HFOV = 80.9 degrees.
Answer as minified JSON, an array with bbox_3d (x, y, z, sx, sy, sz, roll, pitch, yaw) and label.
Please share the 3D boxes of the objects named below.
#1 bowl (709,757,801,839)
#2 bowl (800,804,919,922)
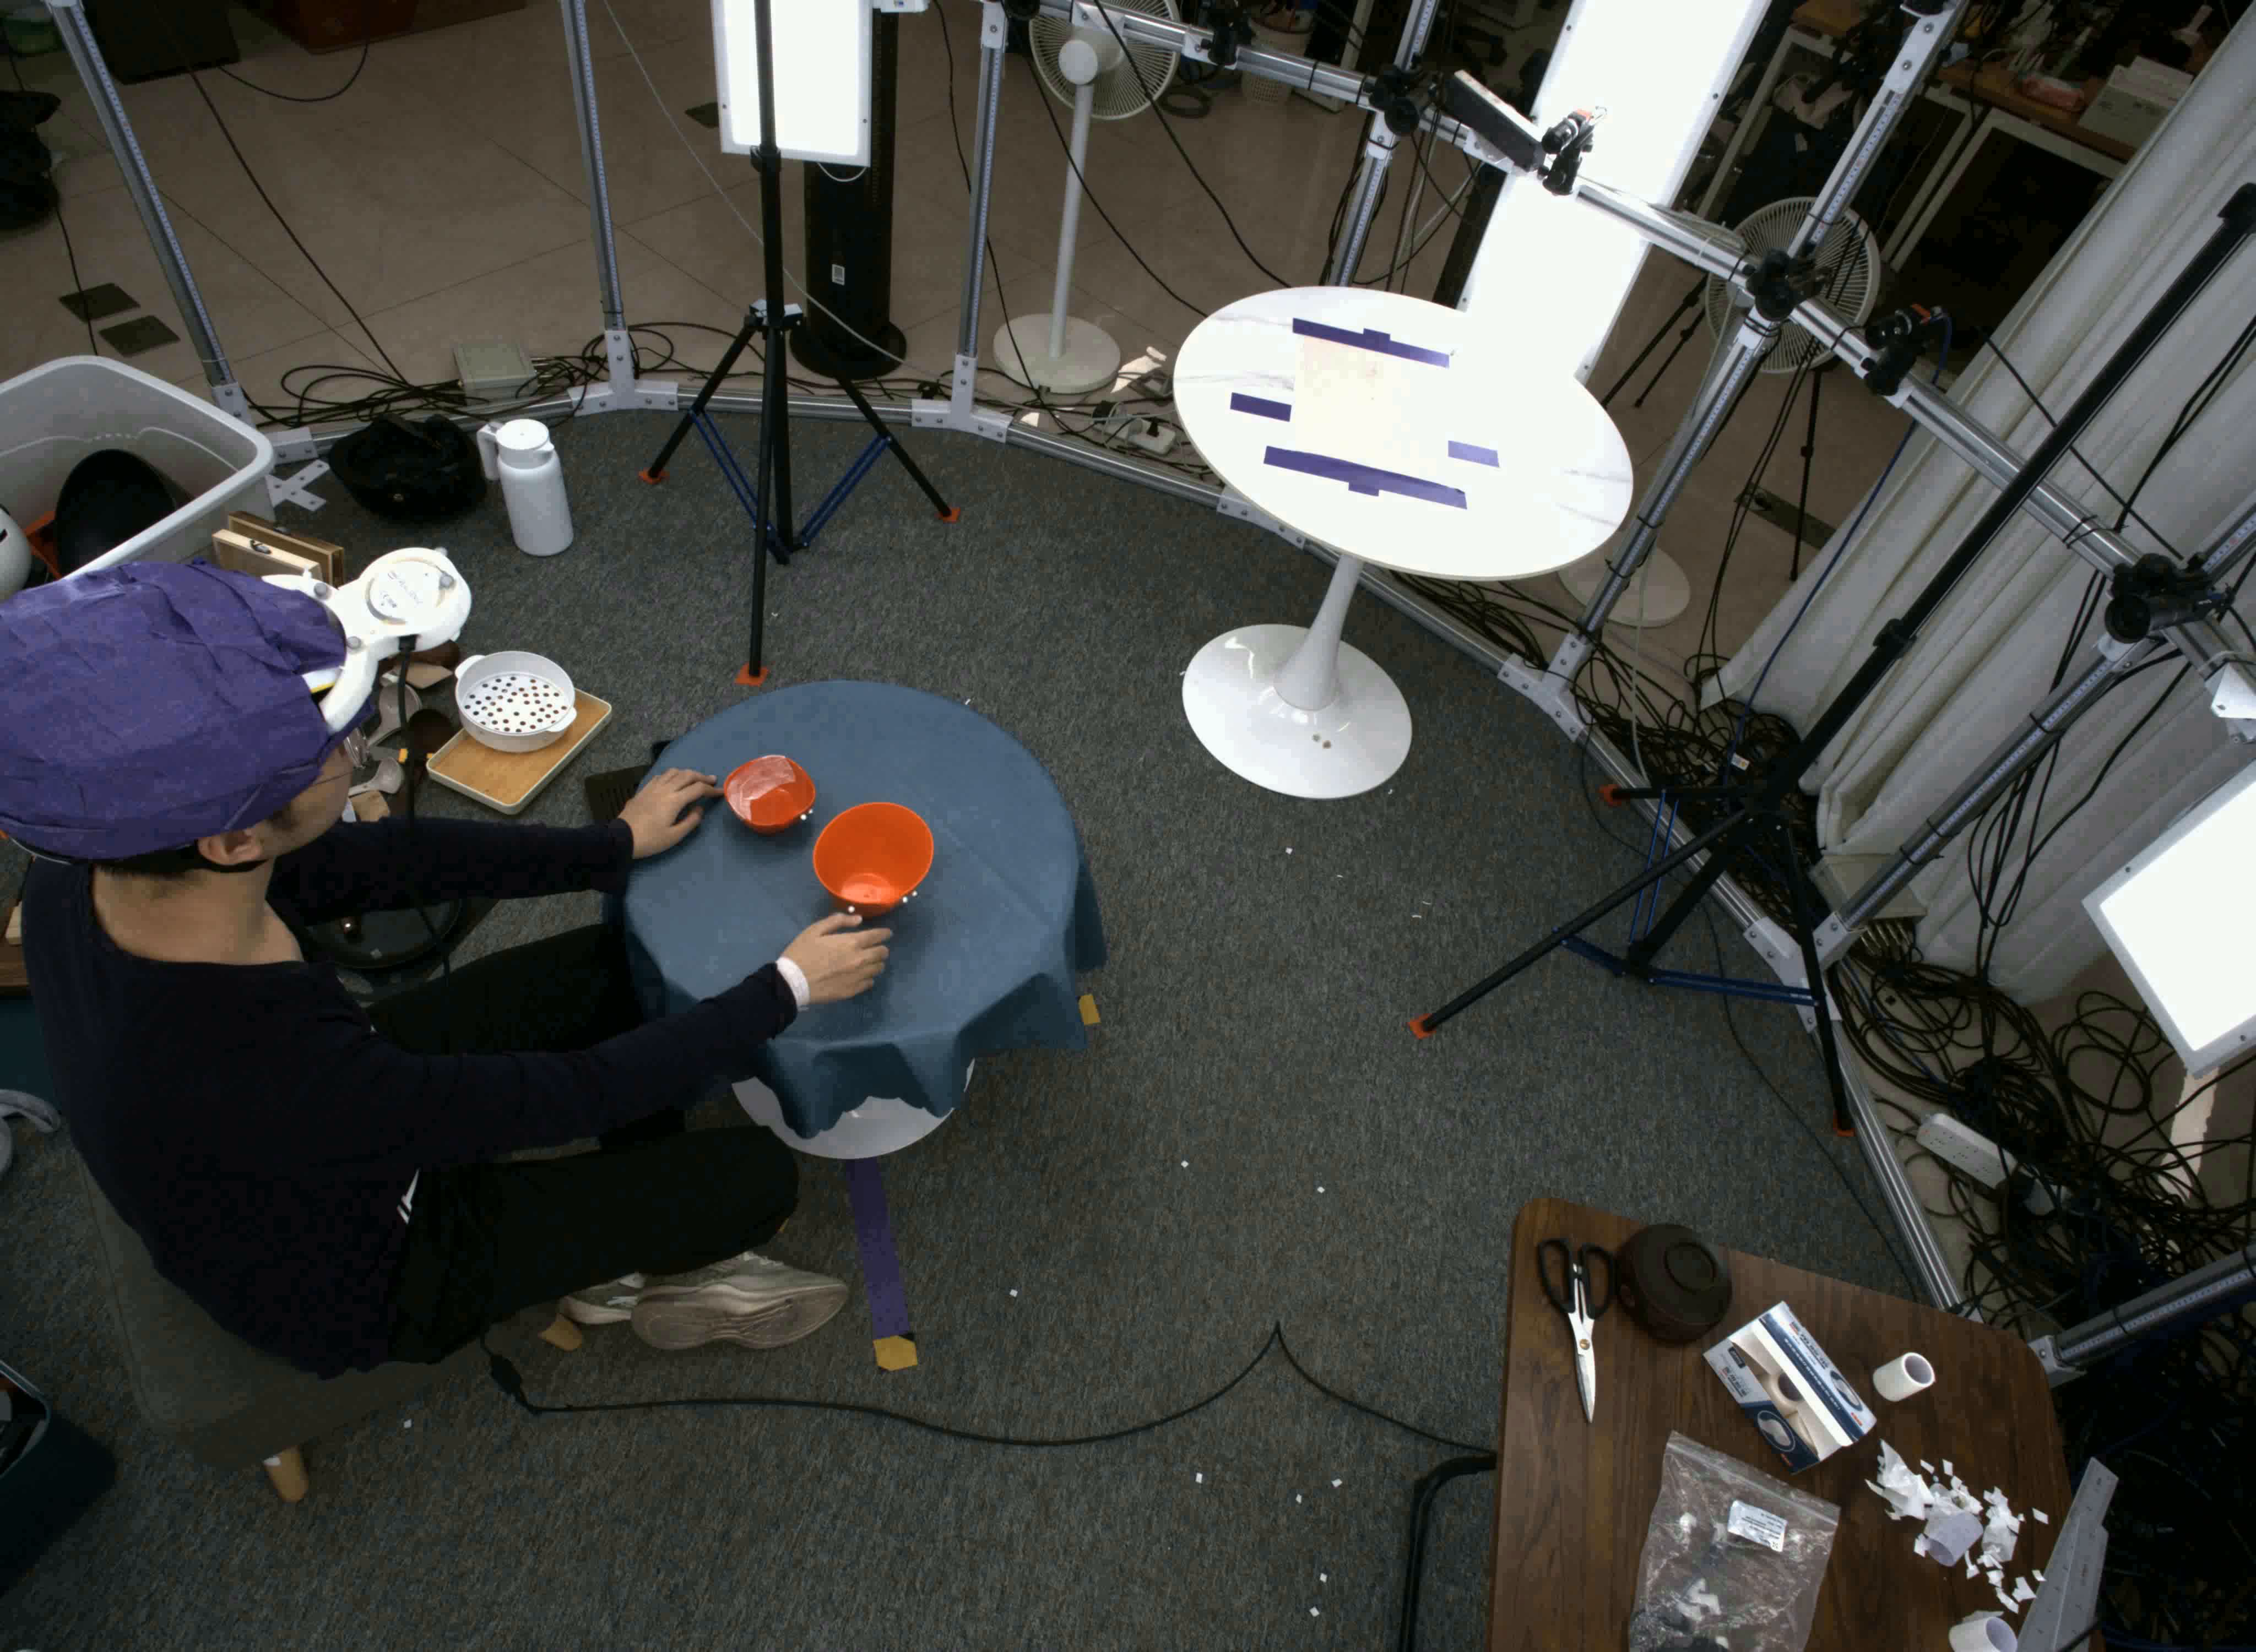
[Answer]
[{"bbox_3d":[-0.491,-0.030,1.707,0.119,0.052,0.117,8,54,-9],"label":"bowl"},{"bbox_3d":[-0.339,0.059,1.650,0.147,0.107,0.145,7,53,-7],"label":"bowl"}]
